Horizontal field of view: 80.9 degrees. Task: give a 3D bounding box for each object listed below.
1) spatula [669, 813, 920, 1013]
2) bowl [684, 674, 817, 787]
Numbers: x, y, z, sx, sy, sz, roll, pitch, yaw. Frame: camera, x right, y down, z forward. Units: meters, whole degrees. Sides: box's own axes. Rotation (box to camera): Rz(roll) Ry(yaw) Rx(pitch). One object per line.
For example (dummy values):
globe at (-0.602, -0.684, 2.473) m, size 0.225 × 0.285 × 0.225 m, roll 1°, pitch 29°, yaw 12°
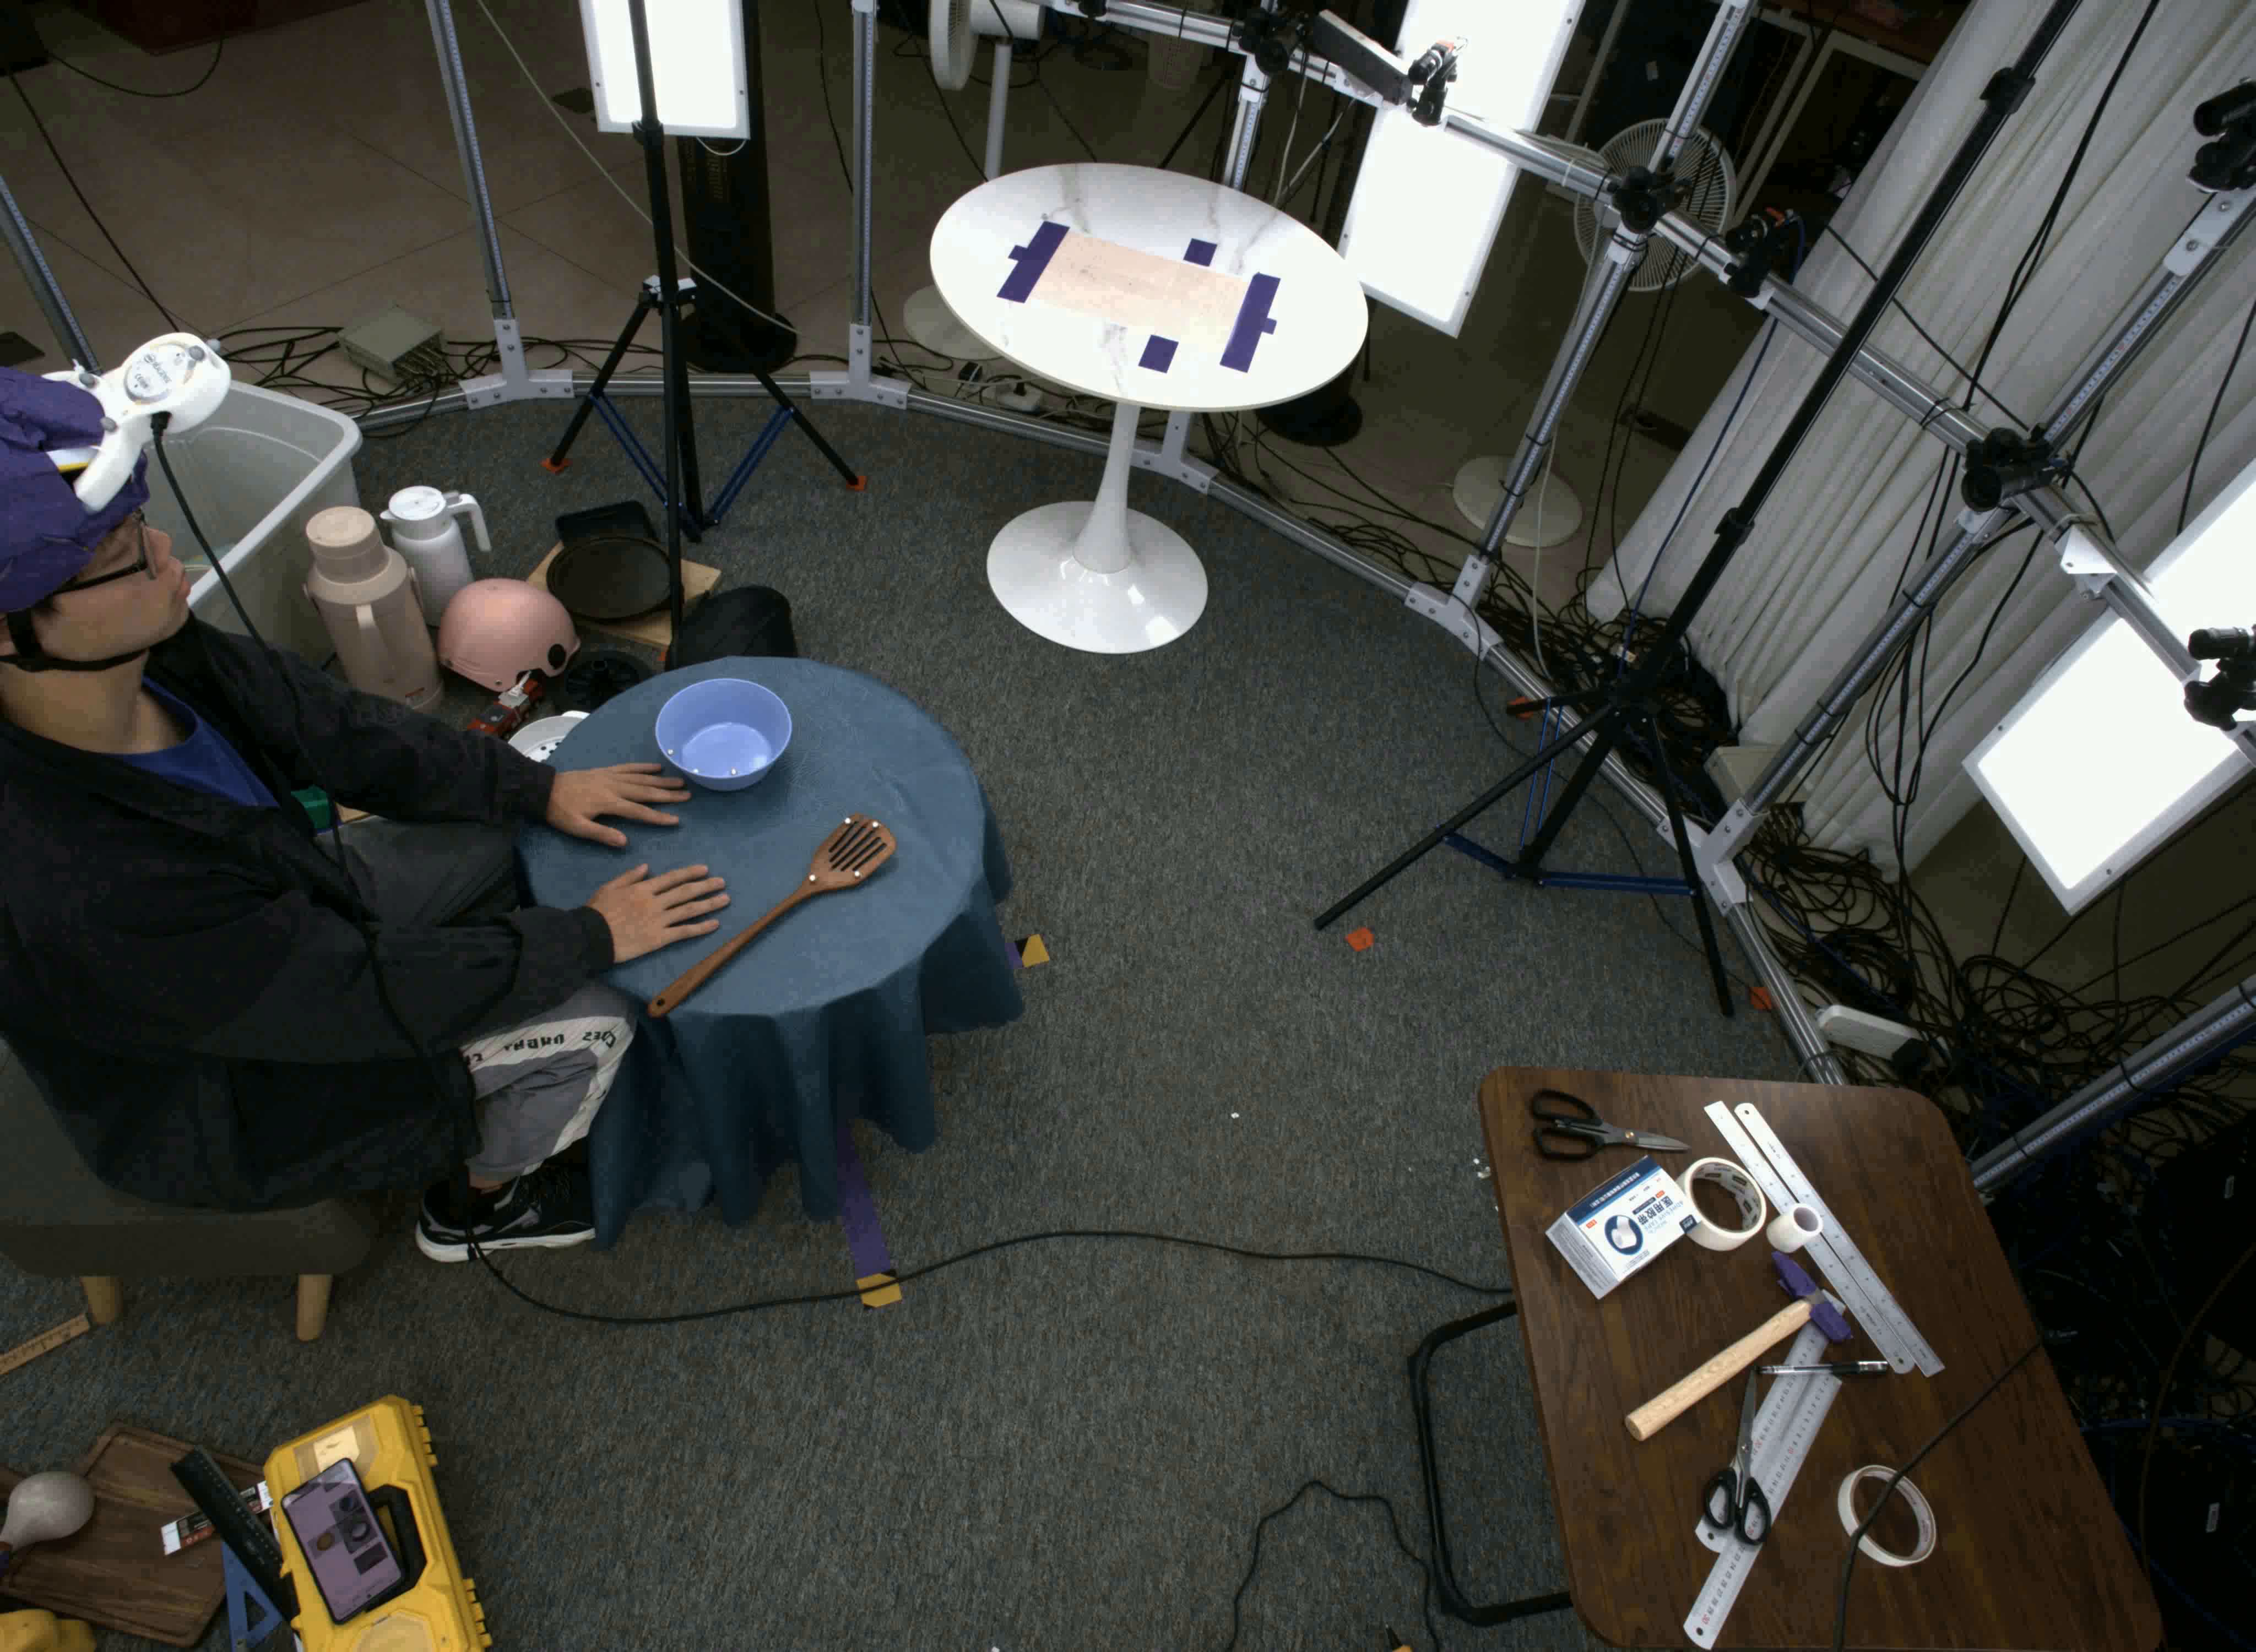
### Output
spatula at (-0.422, 0.110, 1.640) m, size 0.083 × 0.024 × 0.387 m, roll 39°, pitch 56°, yaw 16°
bowl at (-0.509, -0.119, 1.756) m, size 0.175 × 0.072 × 0.173 m, roll 7°, pitch 53°, yaw -7°
